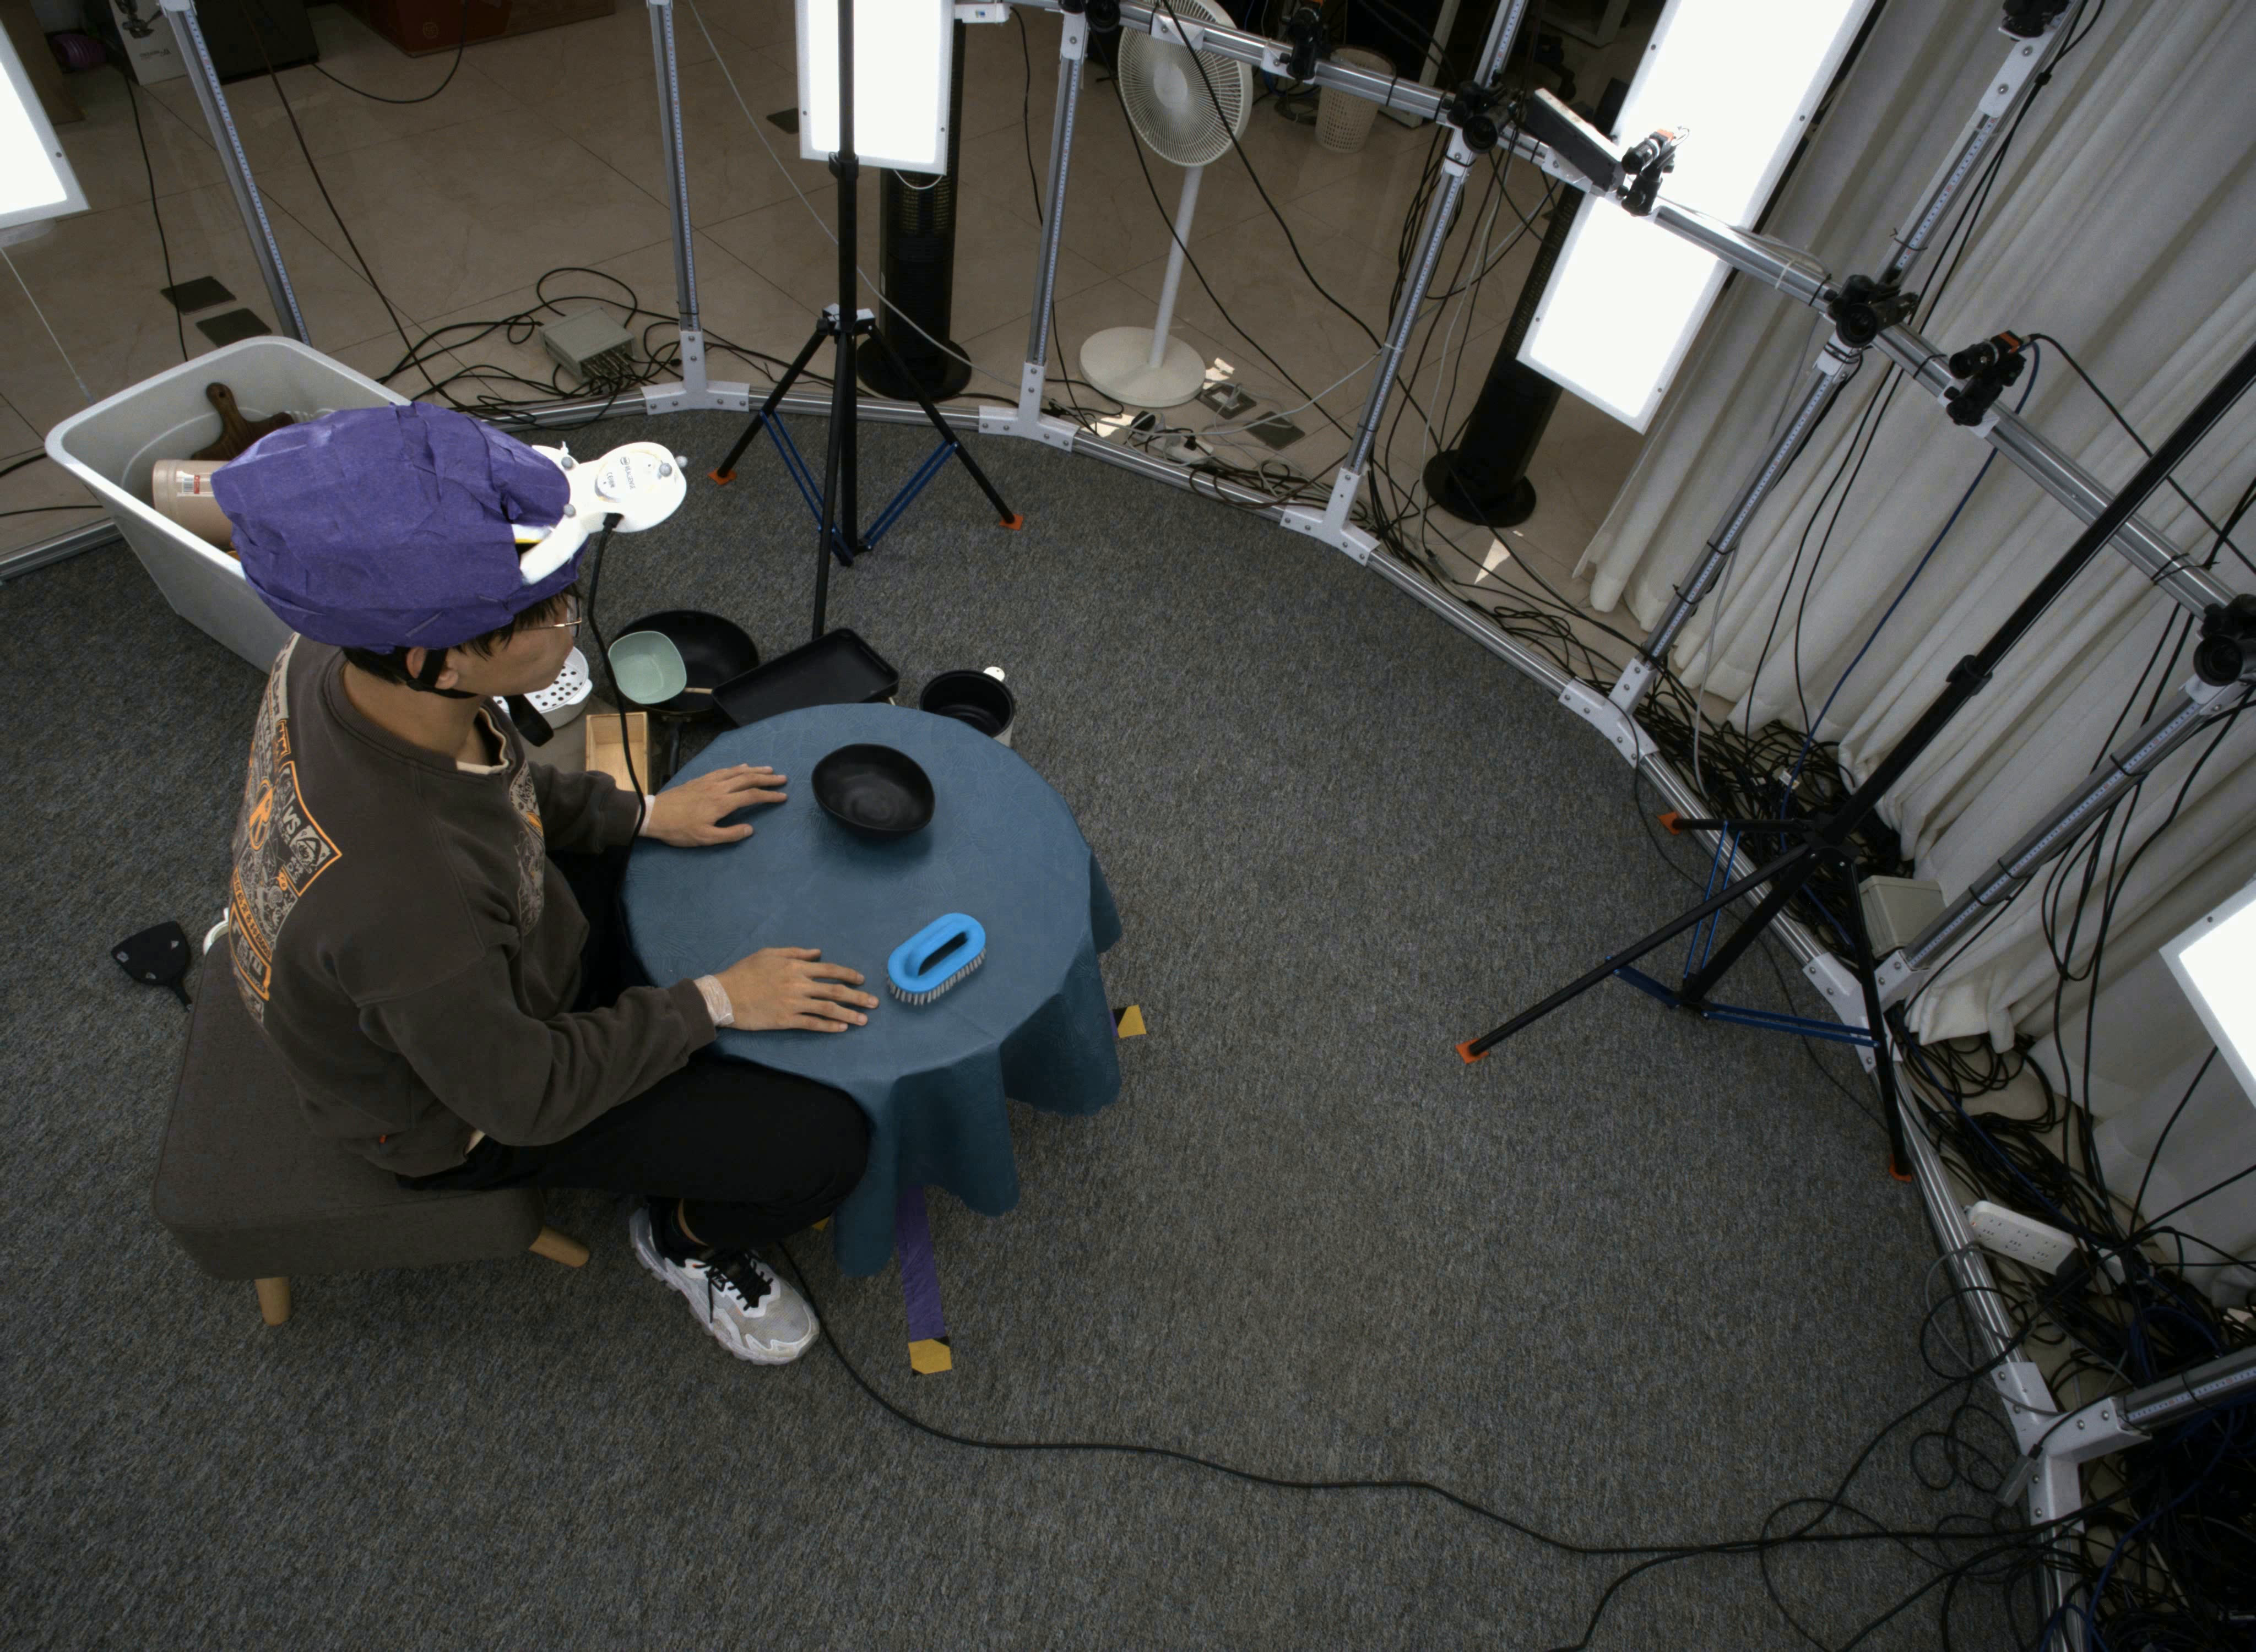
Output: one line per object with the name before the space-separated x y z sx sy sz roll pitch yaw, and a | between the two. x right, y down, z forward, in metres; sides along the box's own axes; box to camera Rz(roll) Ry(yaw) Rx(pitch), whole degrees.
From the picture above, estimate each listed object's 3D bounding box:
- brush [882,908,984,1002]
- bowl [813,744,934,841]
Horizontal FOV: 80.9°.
brush | -0.240 0.154 1.628 0.142 0.065 0.083 -36 72 -31
bowl | -0.340 -0.034 1.744 0.168 0.068 0.136 24 53 3
